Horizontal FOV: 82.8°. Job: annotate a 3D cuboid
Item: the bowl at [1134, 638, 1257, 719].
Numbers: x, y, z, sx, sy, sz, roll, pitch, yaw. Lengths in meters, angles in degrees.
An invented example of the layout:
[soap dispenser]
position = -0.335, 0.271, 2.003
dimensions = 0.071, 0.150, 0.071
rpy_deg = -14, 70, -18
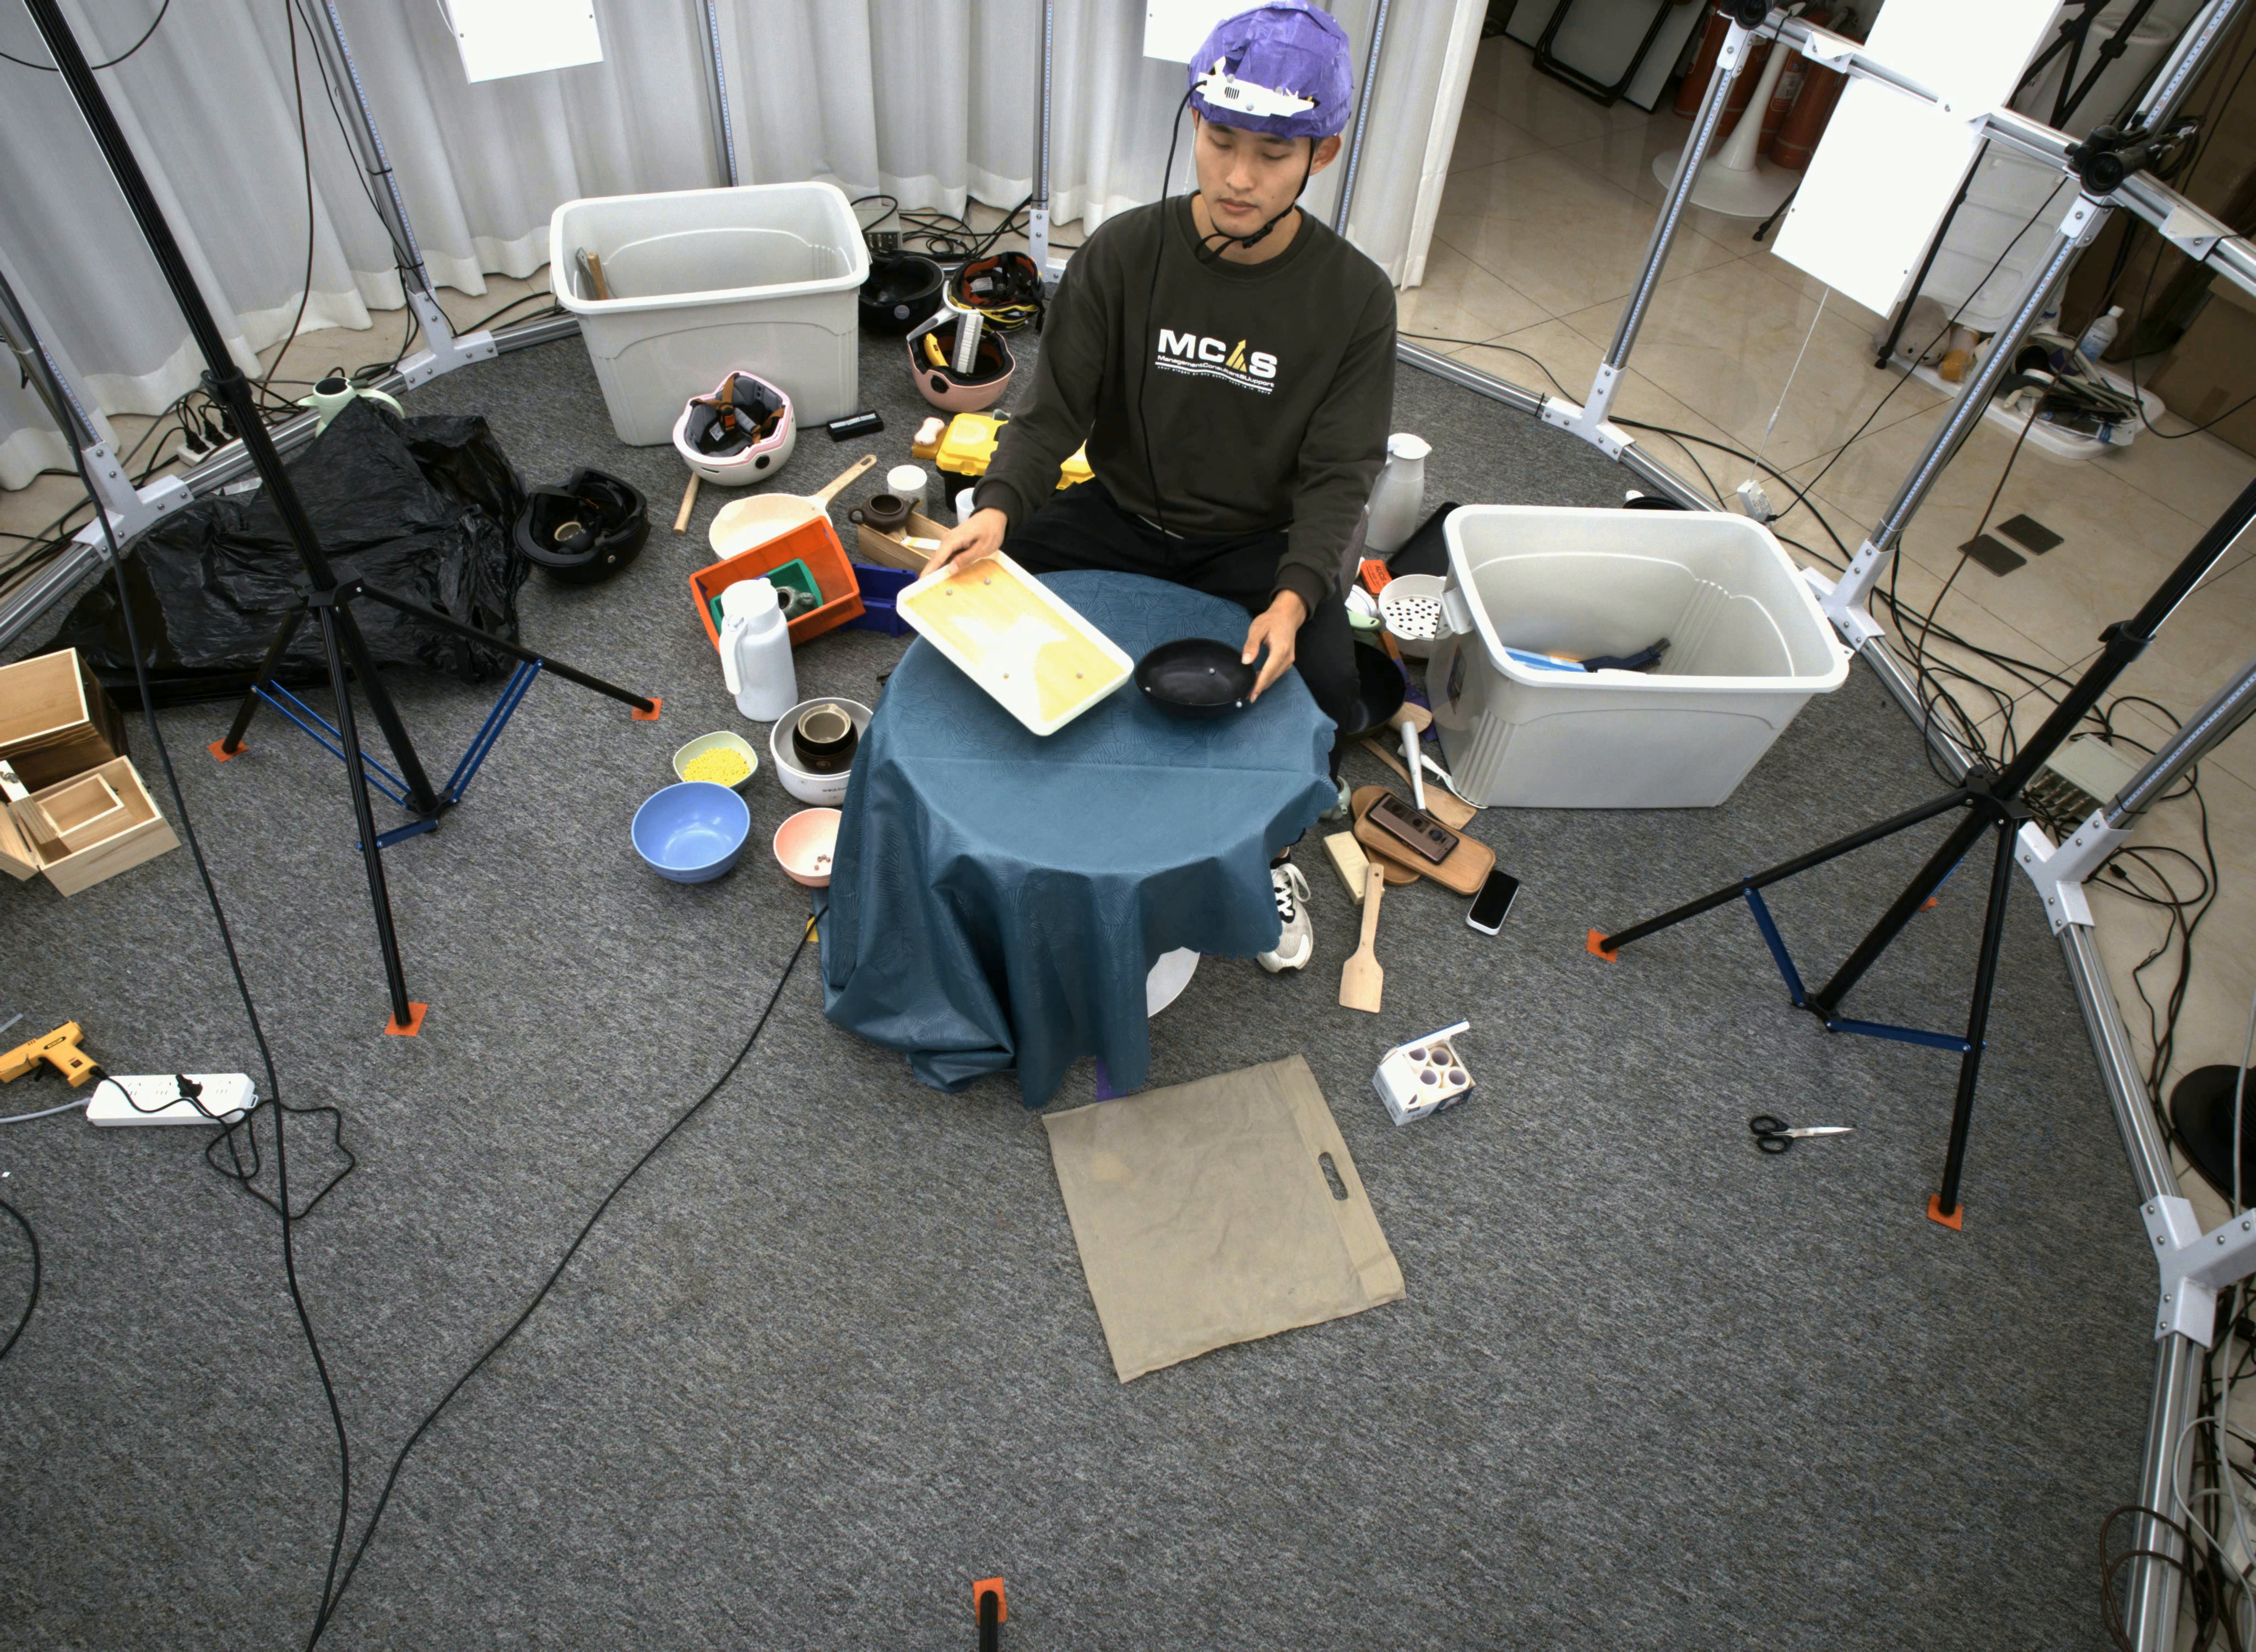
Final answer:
[bowl]
position = 0.093, -0.195, 1.802
dimensions = 0.170, 0.065, 0.141
rpy_deg = 1, 48, -1

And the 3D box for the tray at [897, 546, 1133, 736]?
[tray]
position = -0.157, -0.262, 1.790
dimensions = 0.303, 0.027, 0.193
rpy_deg = 42, 54, 17
